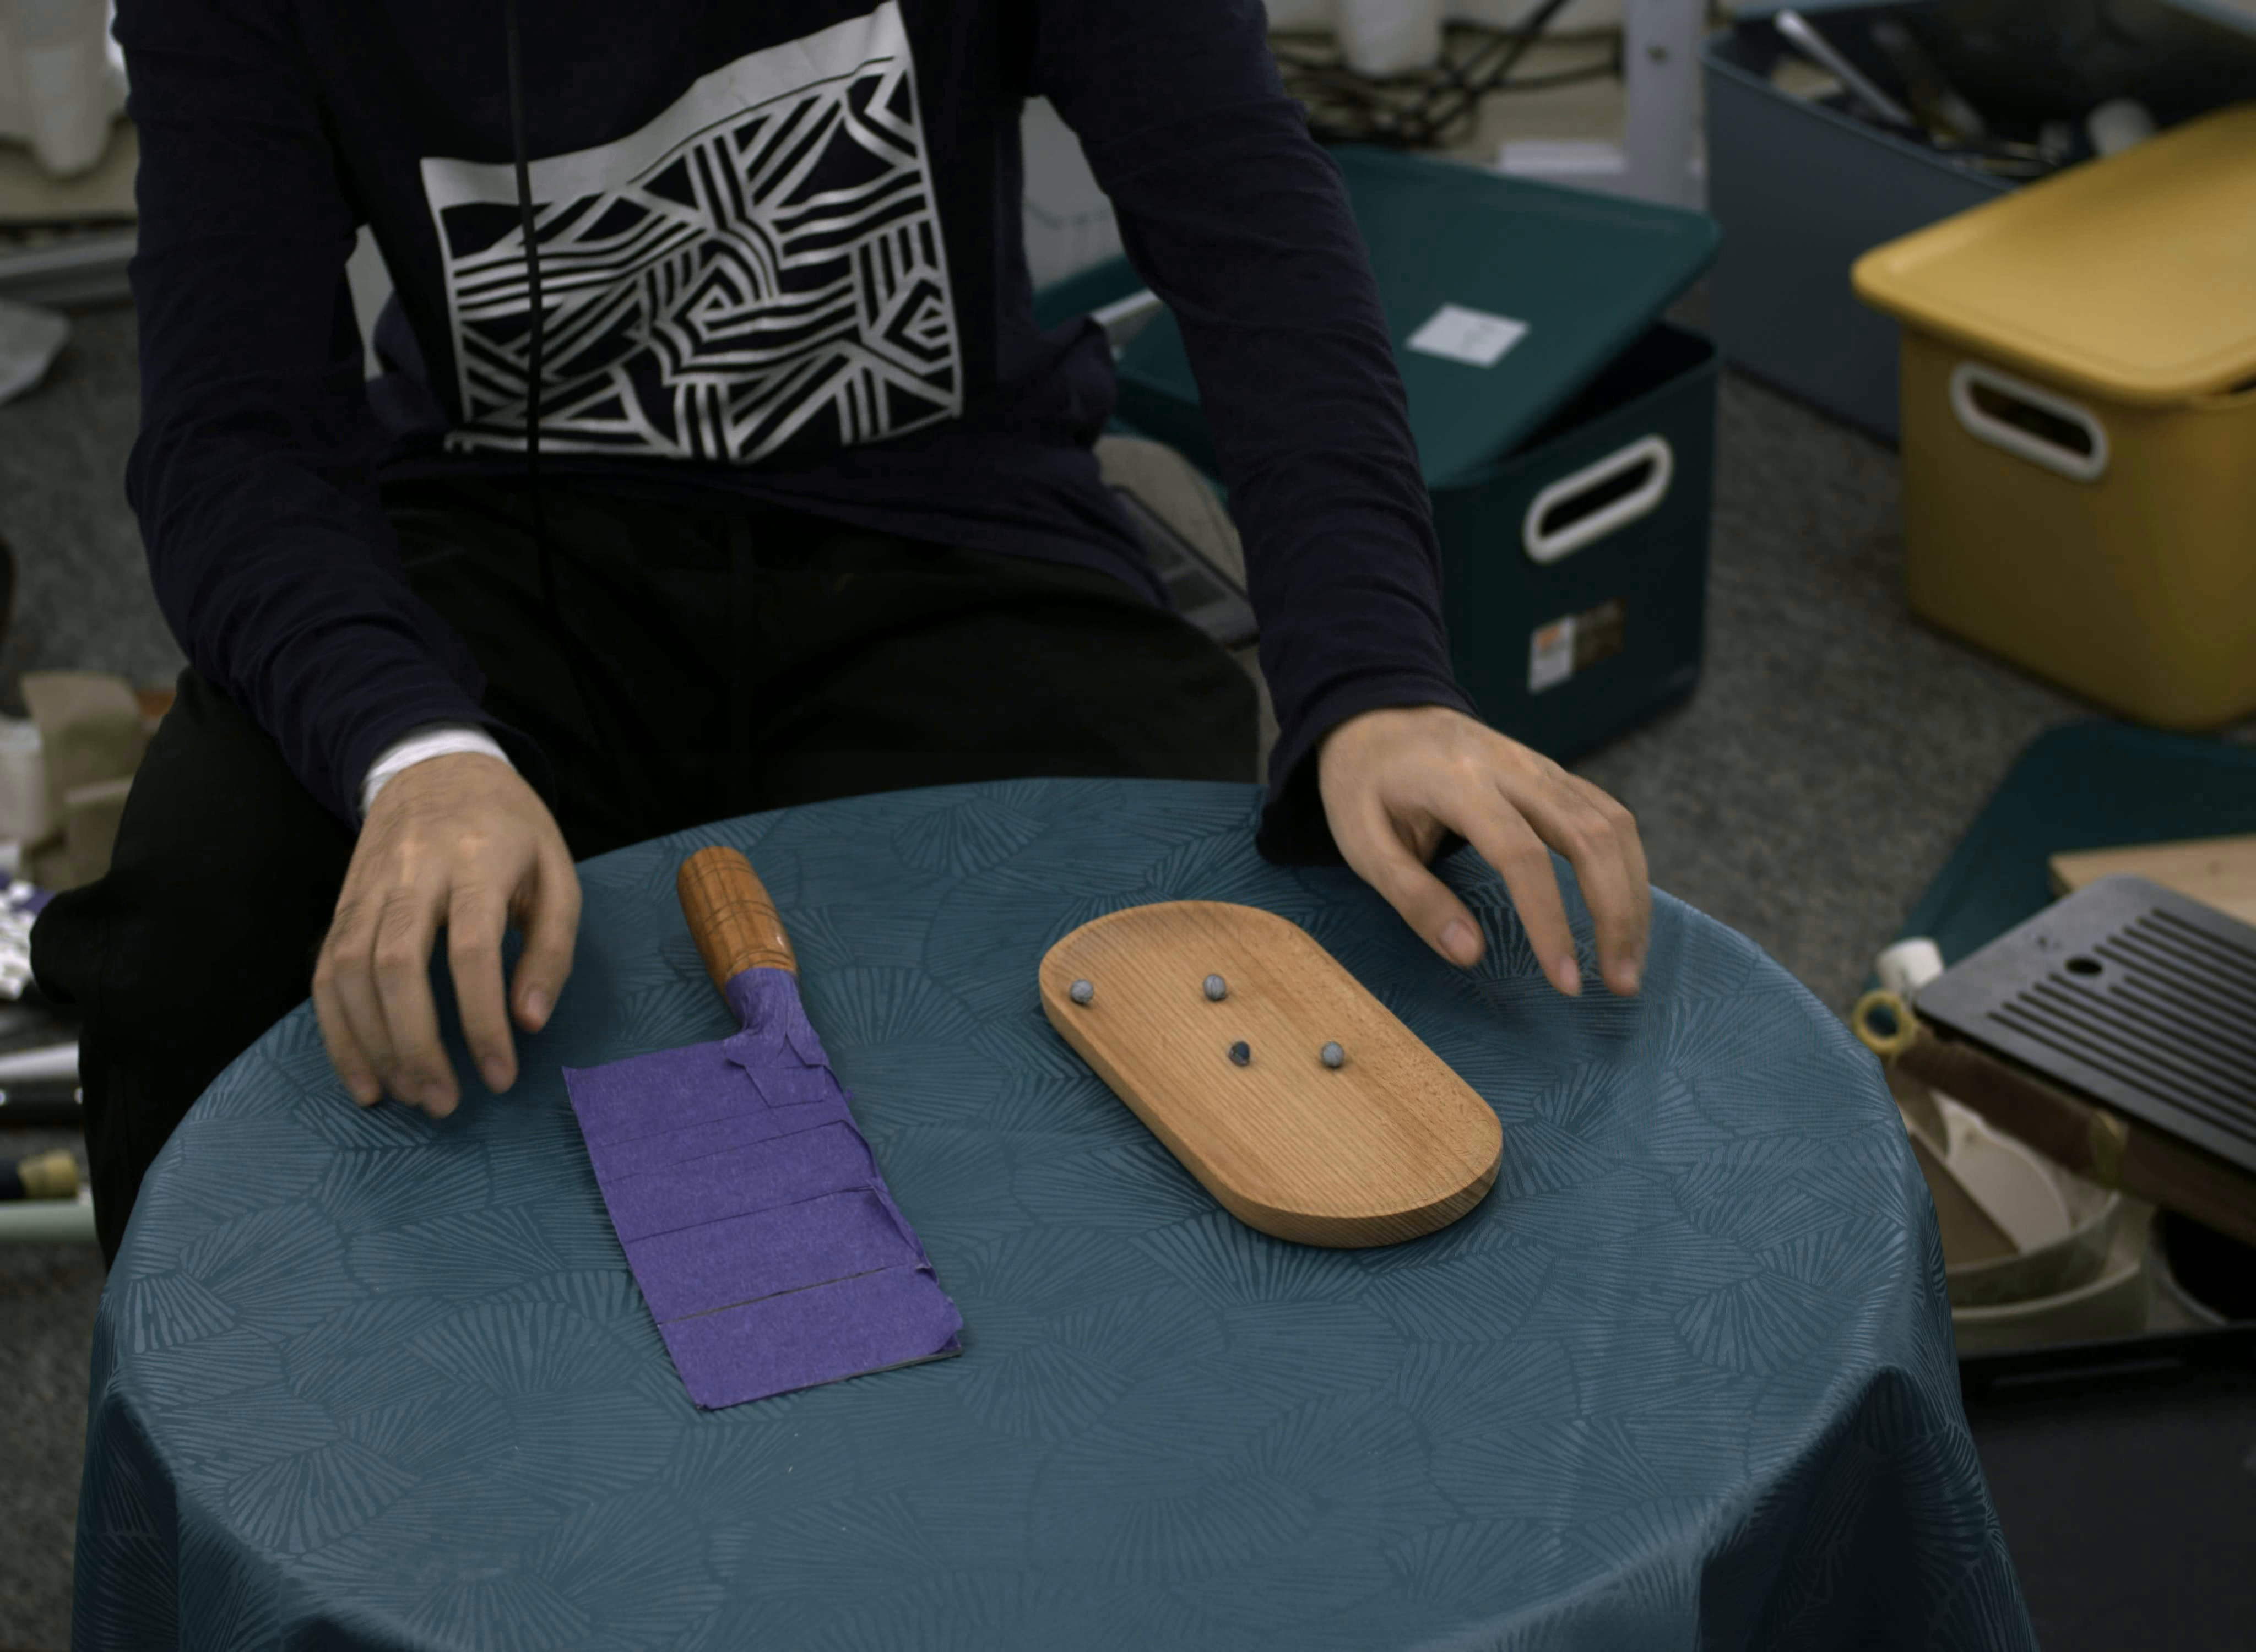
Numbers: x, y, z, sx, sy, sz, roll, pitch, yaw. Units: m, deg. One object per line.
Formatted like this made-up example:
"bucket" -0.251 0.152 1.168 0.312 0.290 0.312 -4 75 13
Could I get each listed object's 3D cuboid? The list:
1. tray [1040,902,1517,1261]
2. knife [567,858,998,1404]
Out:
"tray" 0.049 0.085 1.912 0.102 0.020 0.233 -16 33 -21
"knife" -0.136 0.098 1.891 0.104 0.032 0.318 -10 29 -14
